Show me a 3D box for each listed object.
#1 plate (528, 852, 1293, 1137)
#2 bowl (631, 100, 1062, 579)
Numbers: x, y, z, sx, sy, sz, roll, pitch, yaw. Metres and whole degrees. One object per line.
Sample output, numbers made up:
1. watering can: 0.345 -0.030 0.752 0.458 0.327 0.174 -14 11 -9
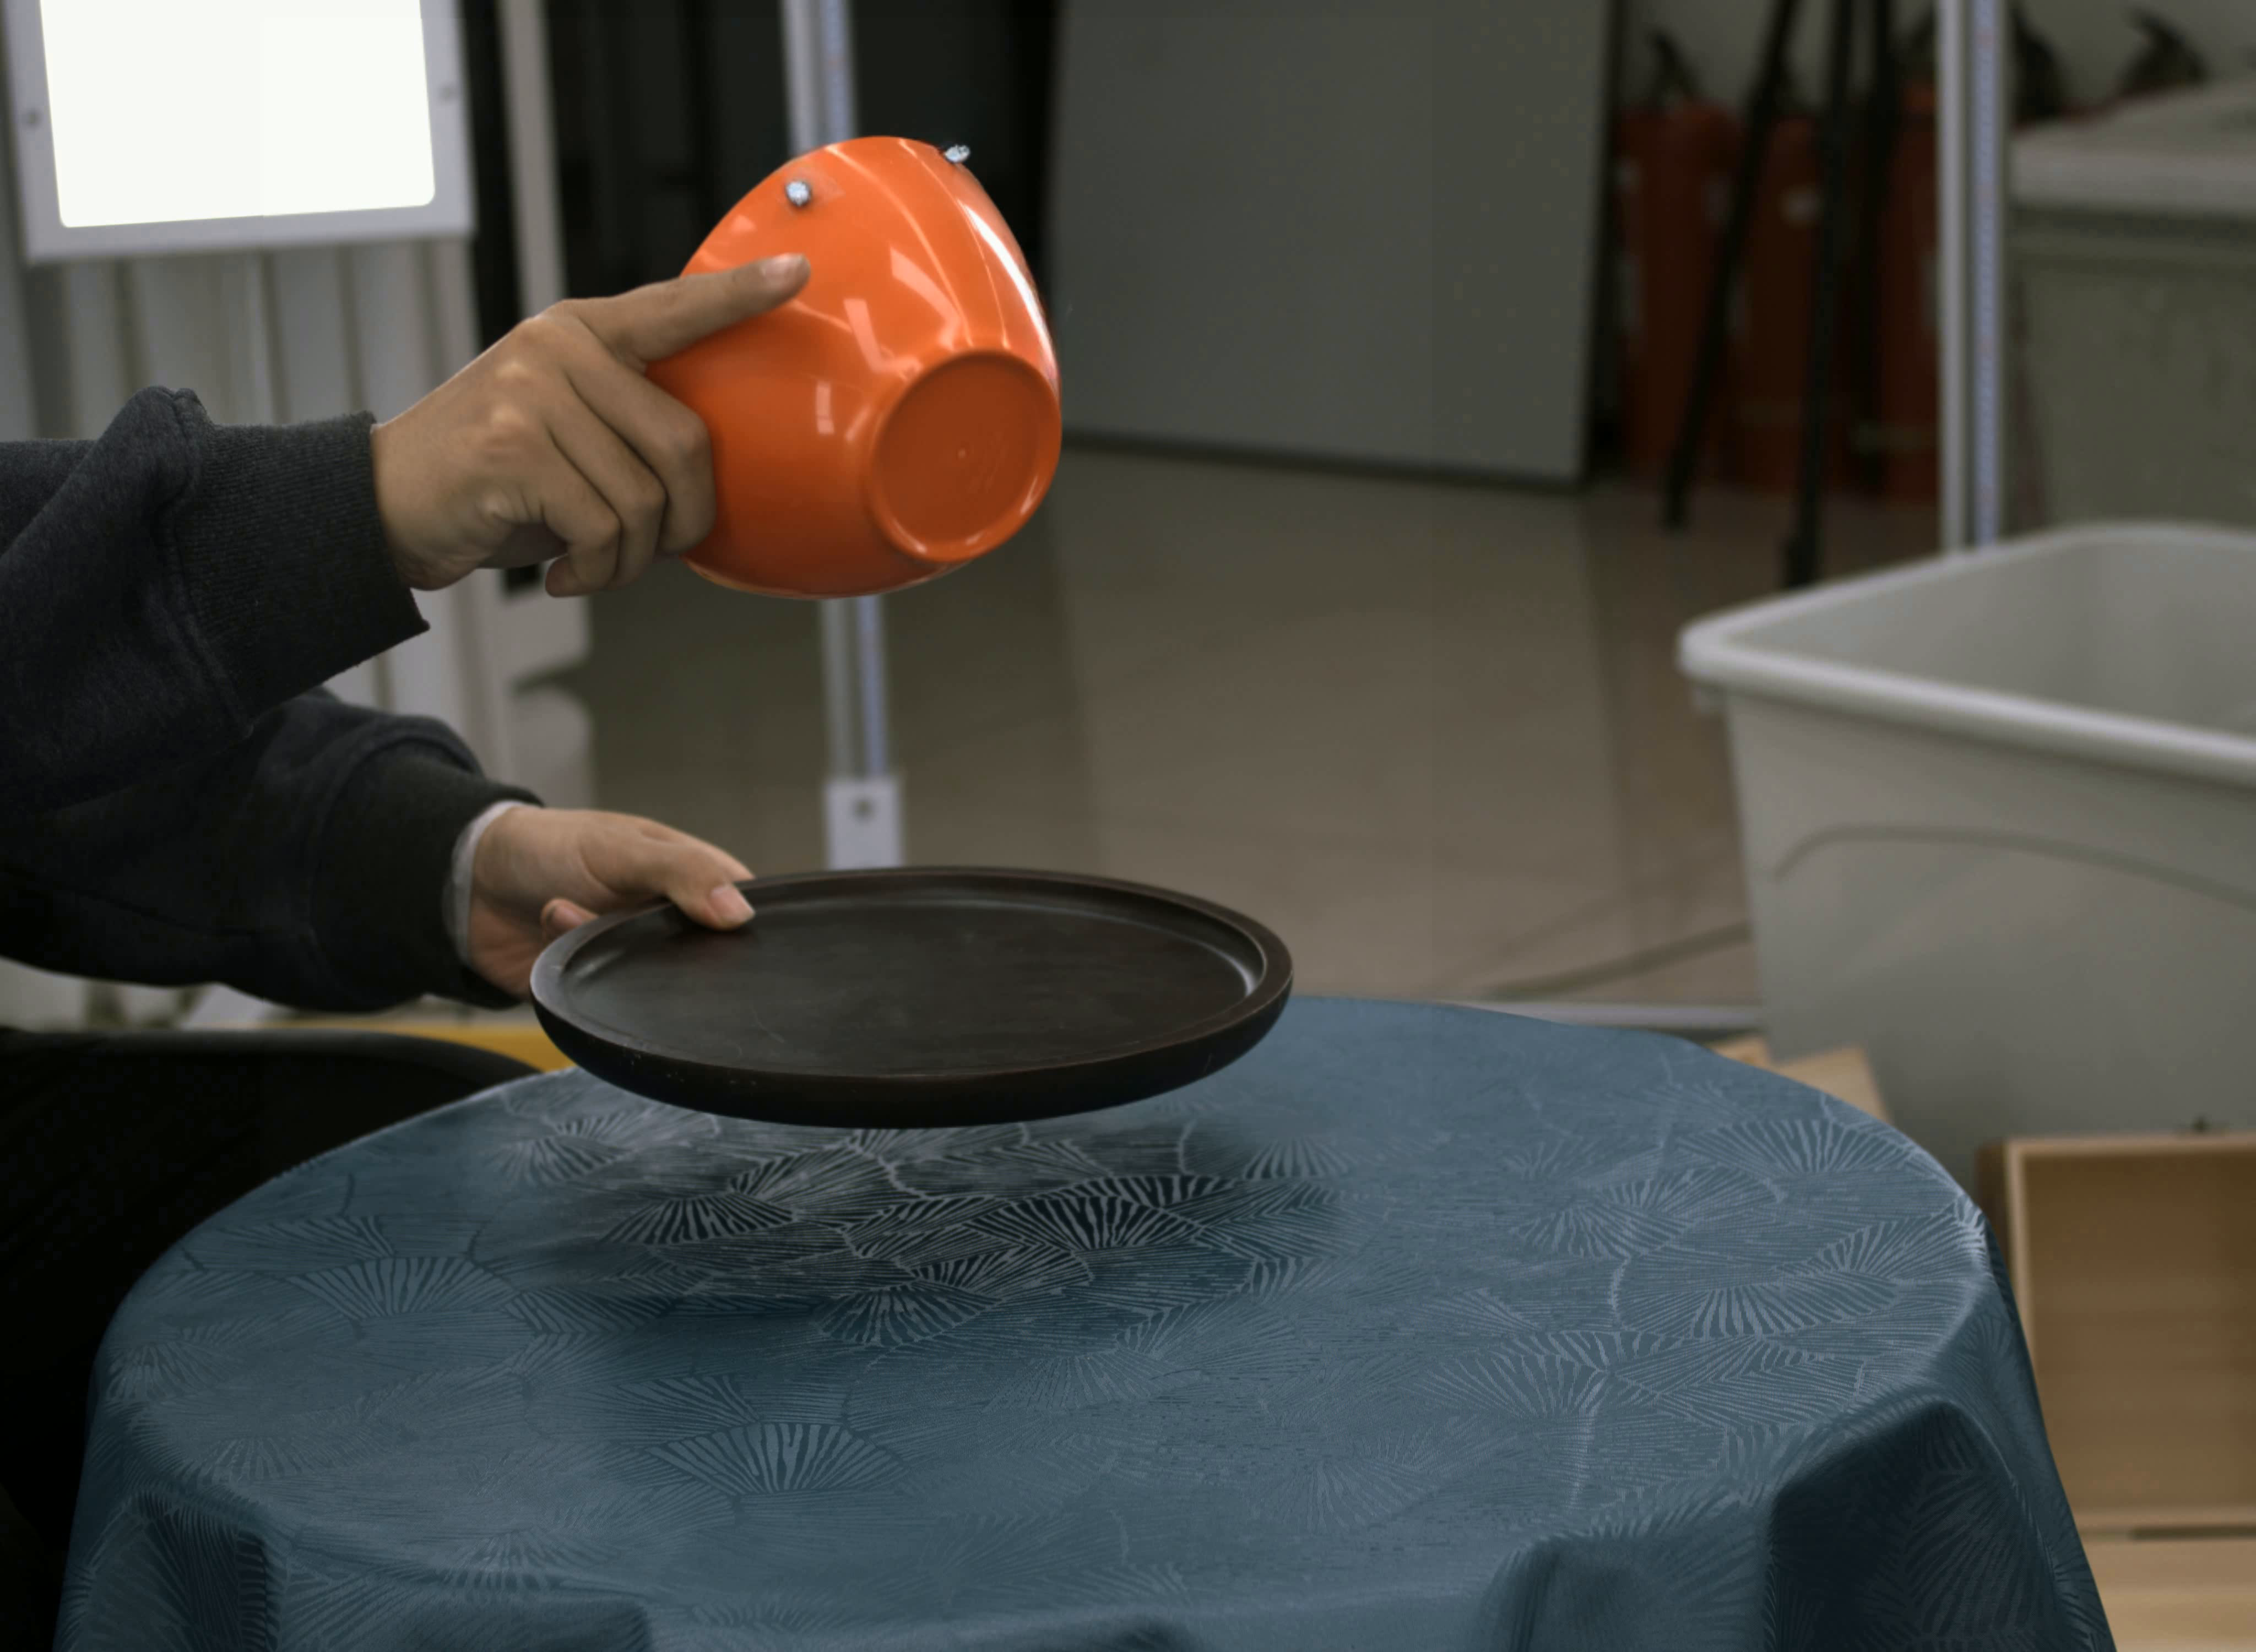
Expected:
1. plate: -0.071 0.056 1.766 0.251 0.029 0.255 -2 15 0
2. bowl: -0.067 -0.130 1.585 0.145 0.149 0.106 -11 28 -32
